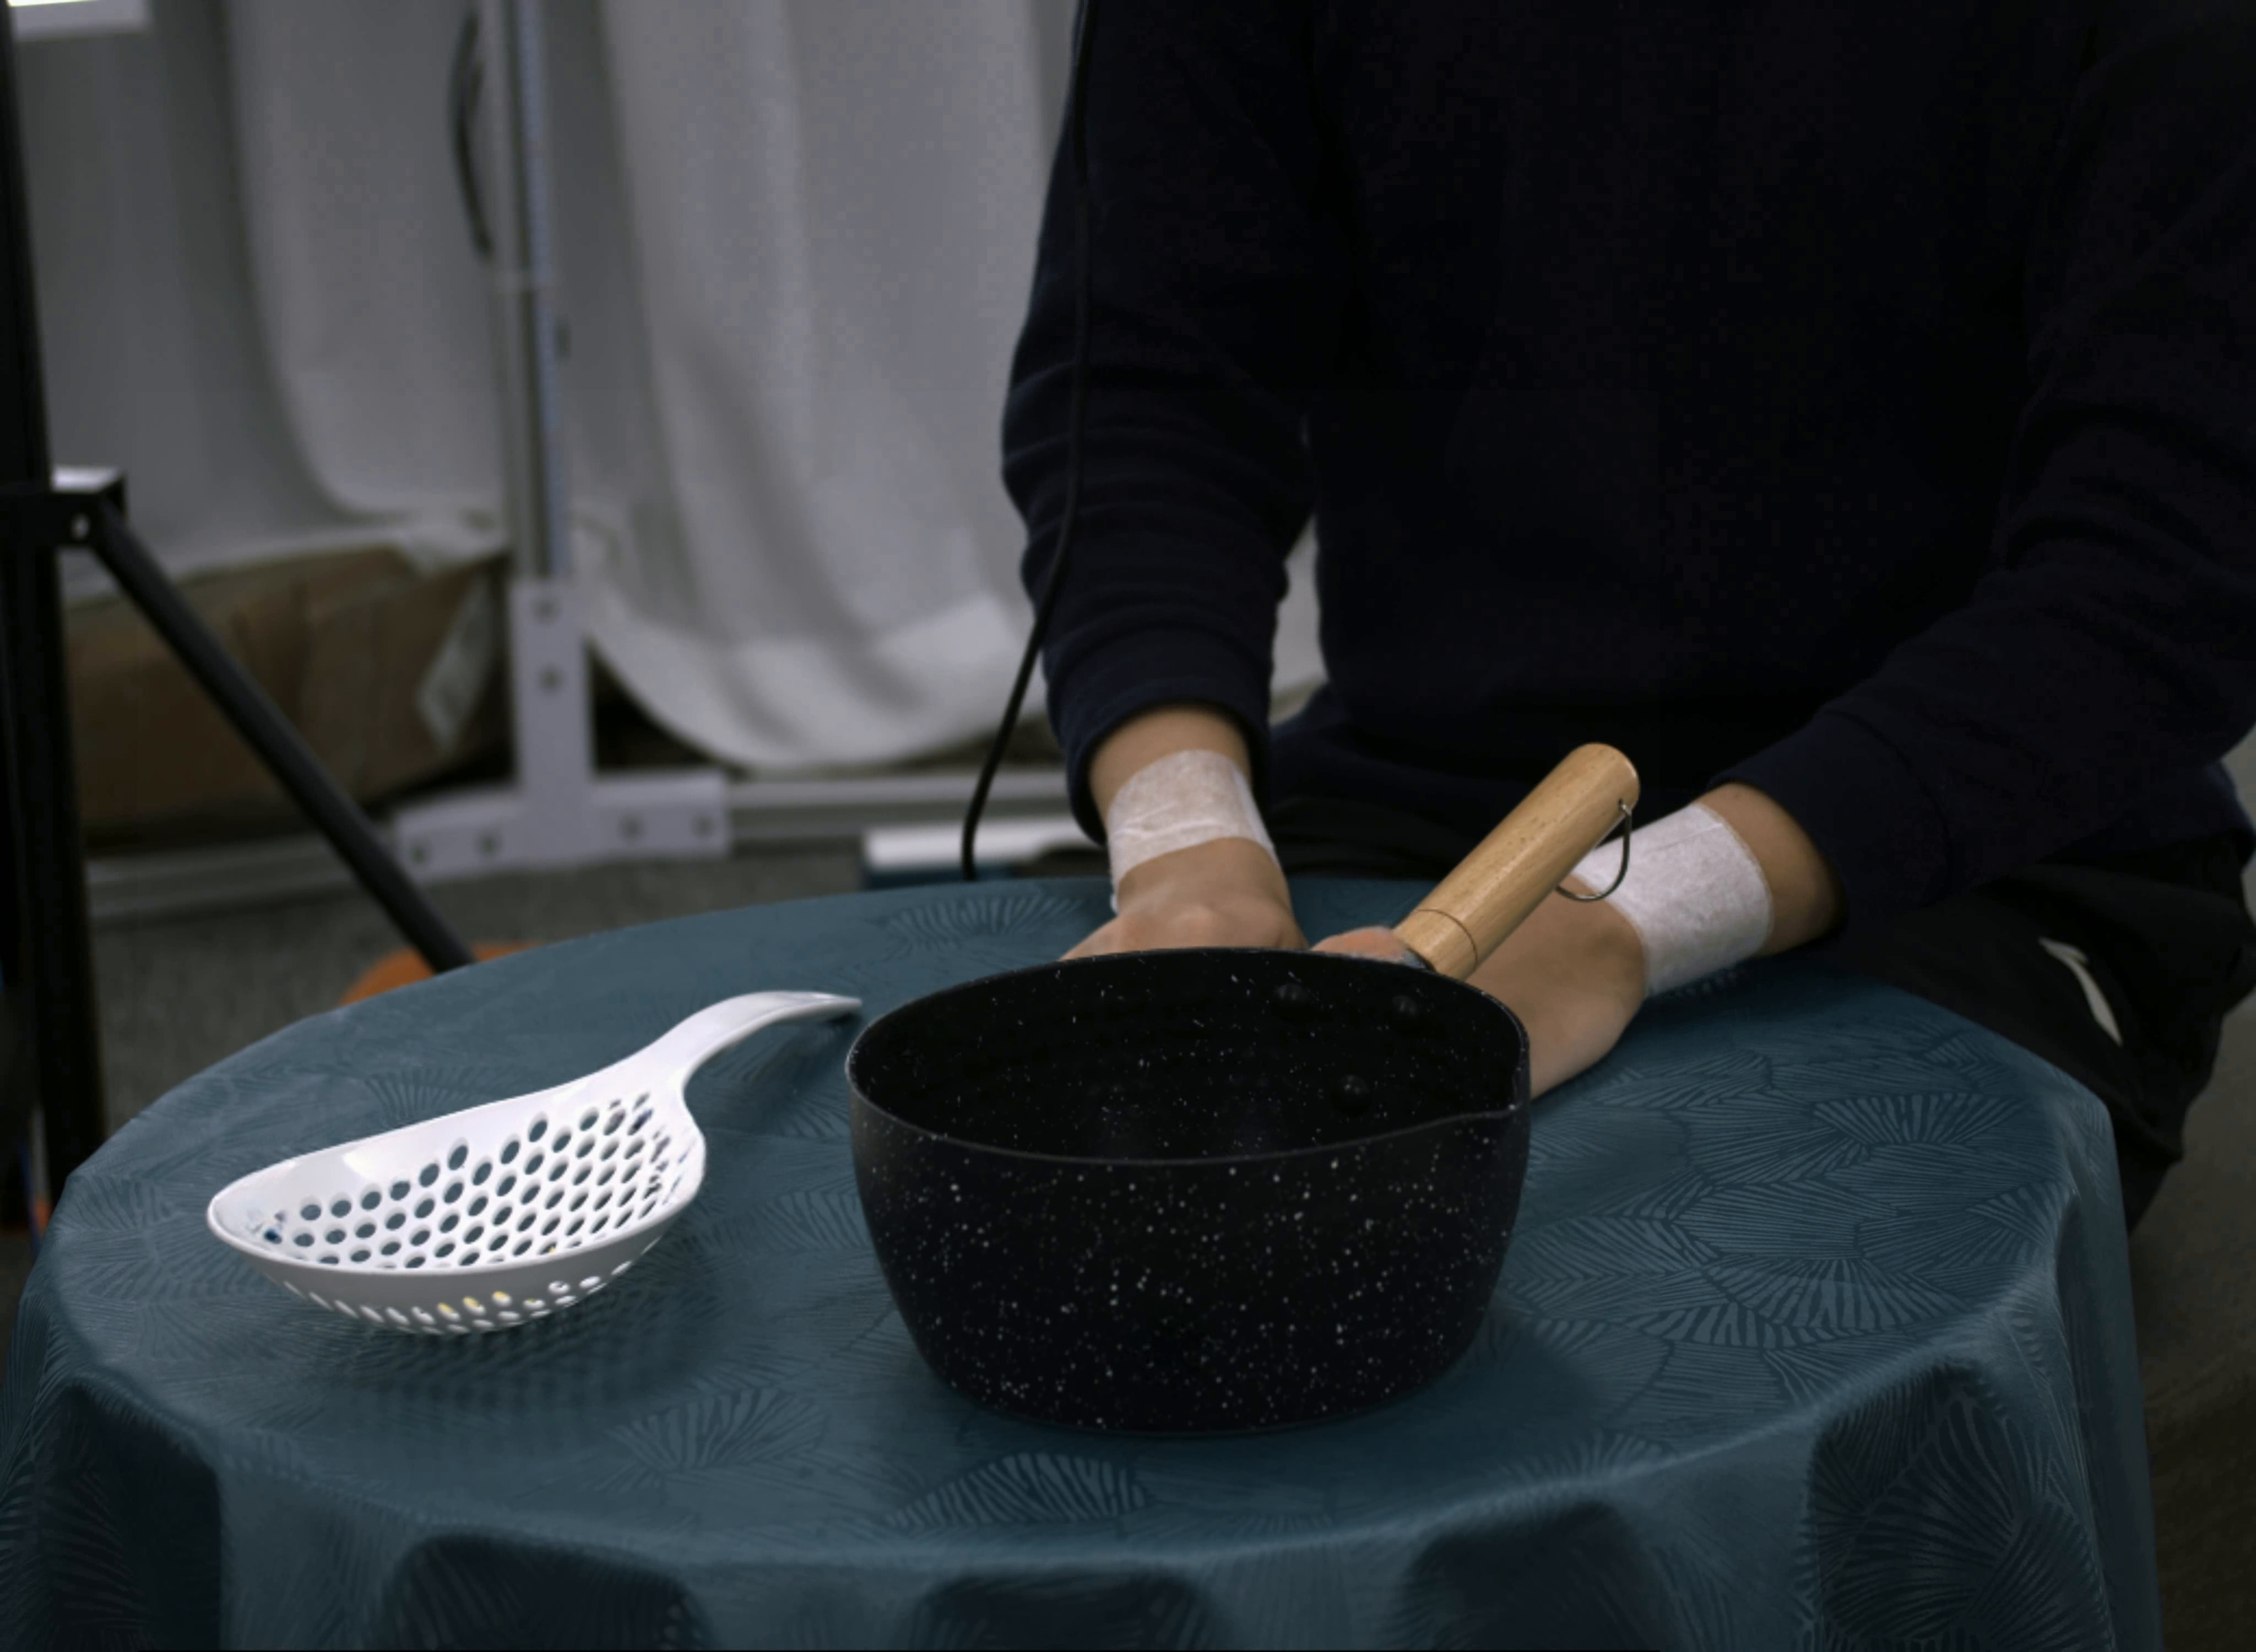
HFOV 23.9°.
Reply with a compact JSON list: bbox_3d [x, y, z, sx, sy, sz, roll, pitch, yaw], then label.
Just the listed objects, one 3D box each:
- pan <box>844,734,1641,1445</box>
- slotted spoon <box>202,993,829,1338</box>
[{"bbox_3d":[0.058,0.068,1.490,0.211,0.108,0.336,6,19,31],"label":"pan"},{"bbox_3d":[-0.150,0.087,1.579,0.138,0.050,0.344,1,18,19],"label":"slotted spoon"}]
